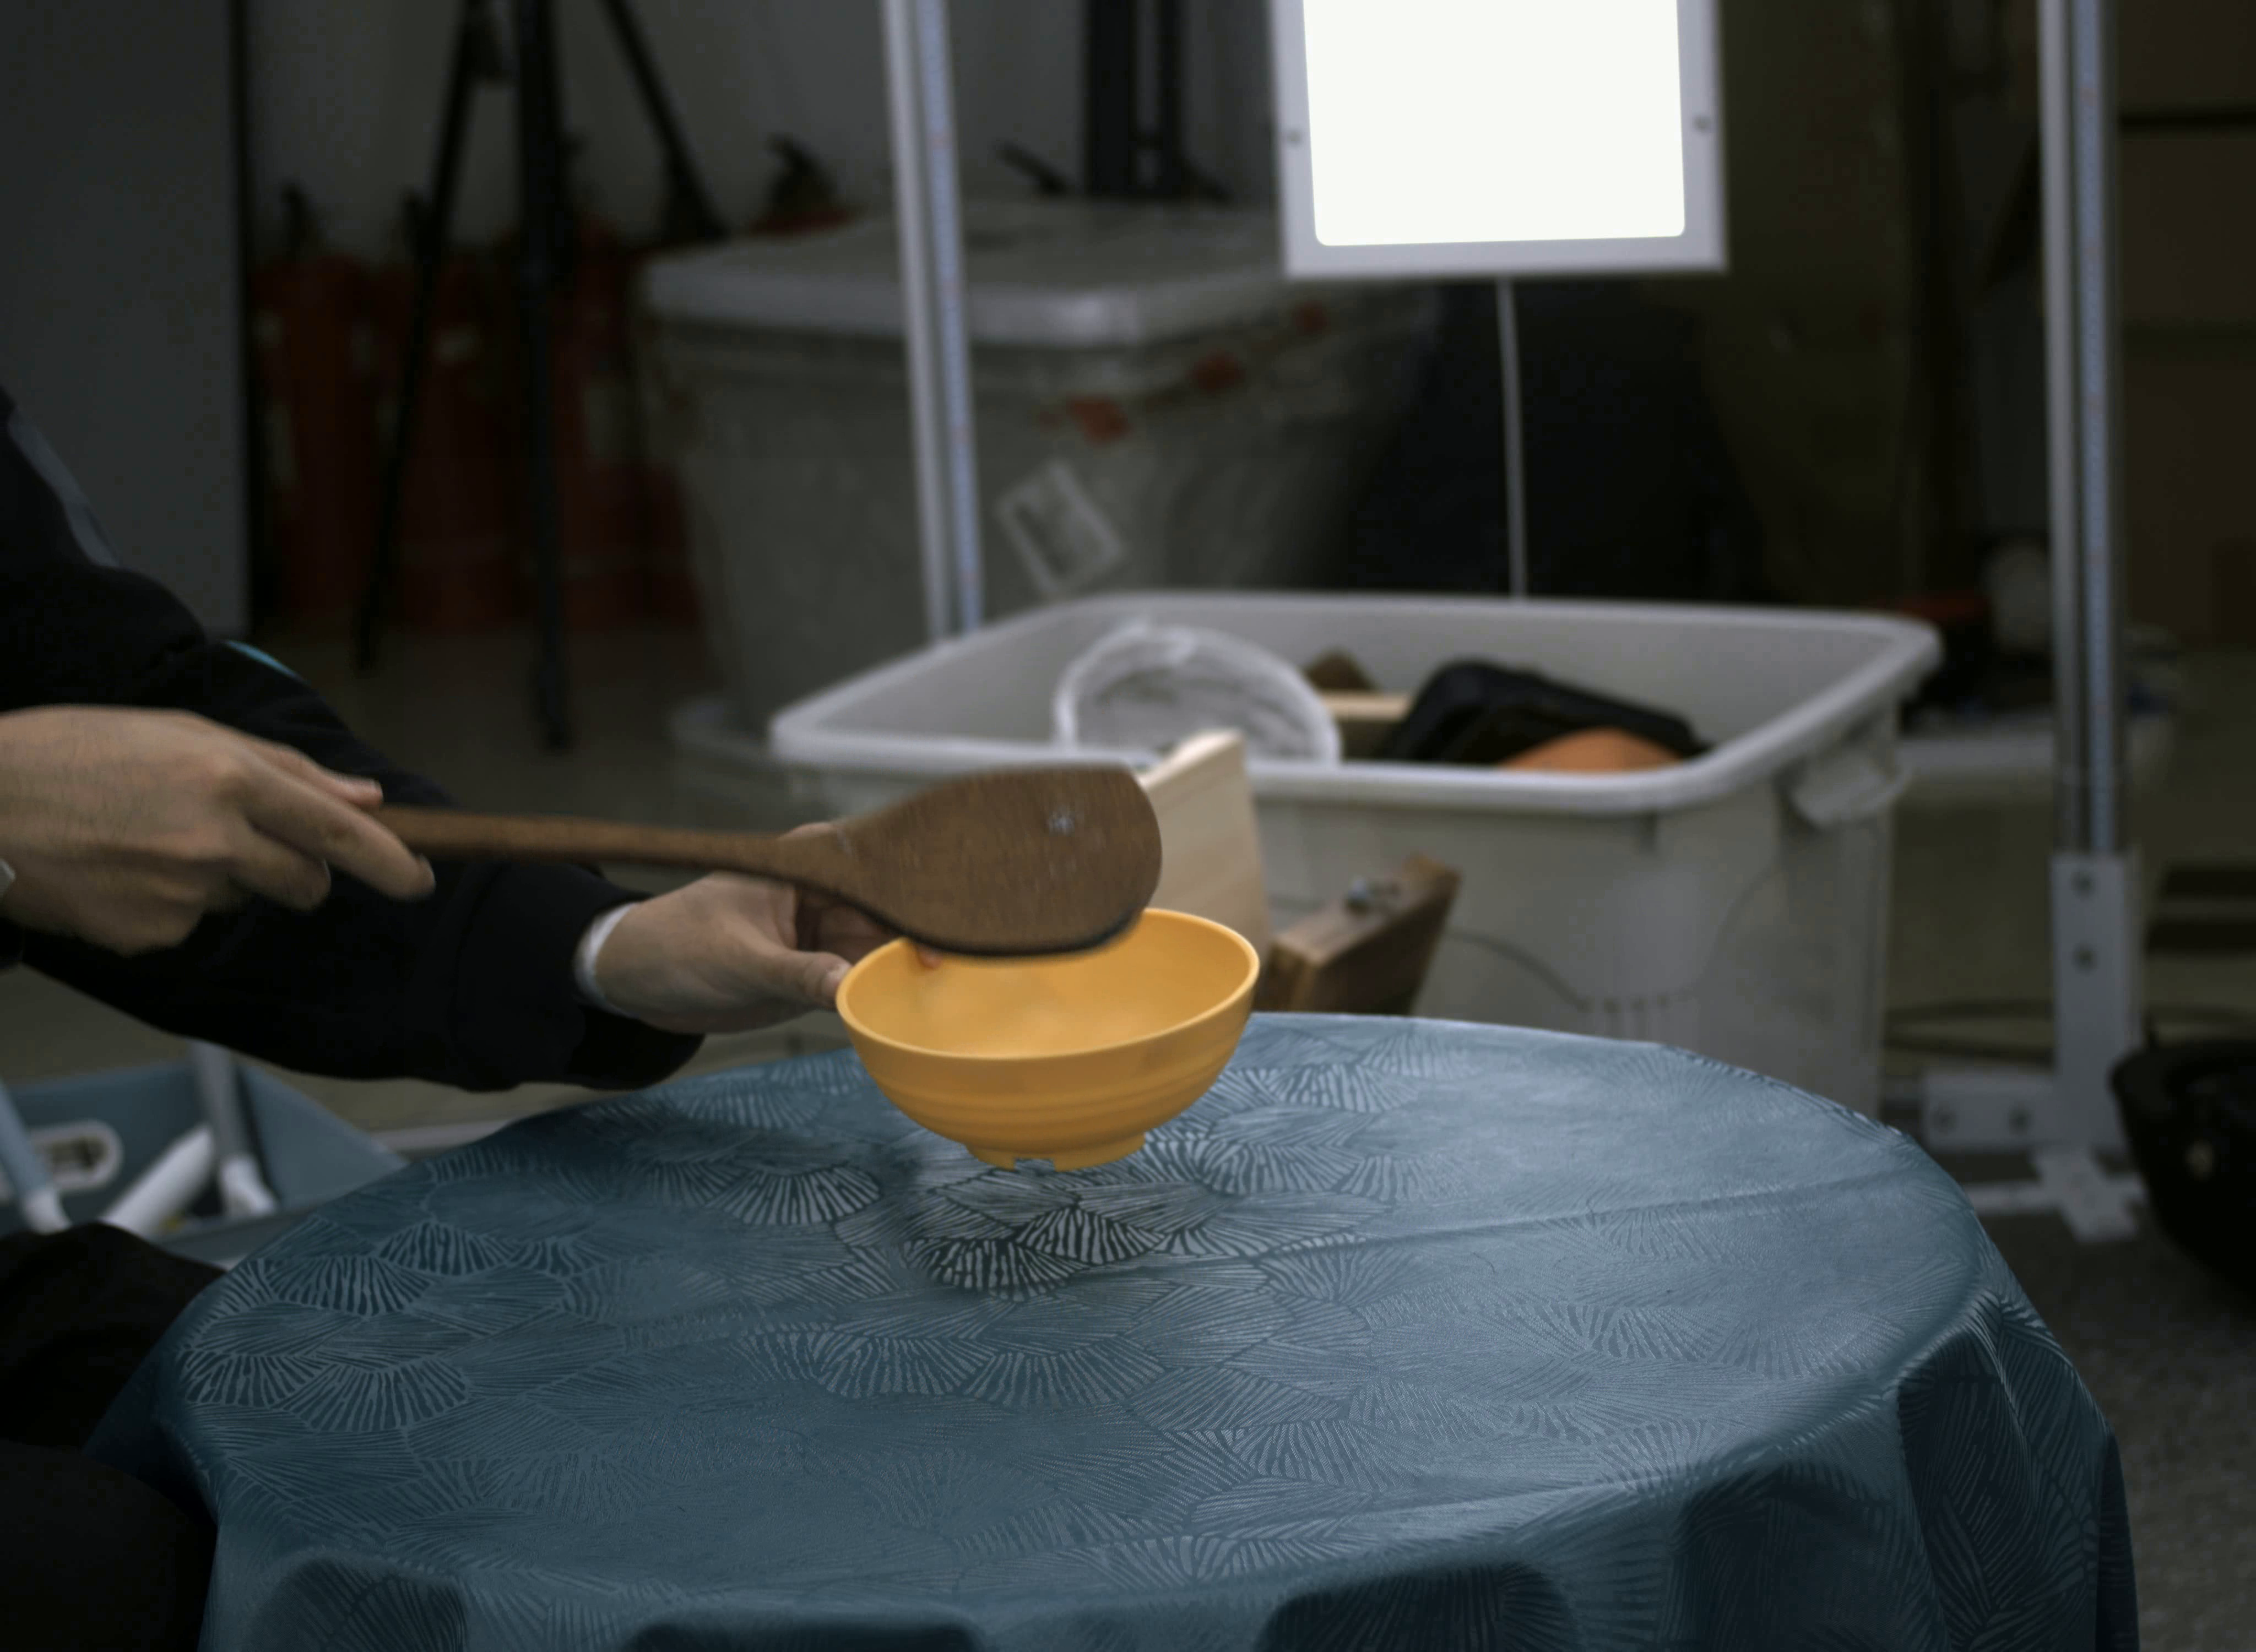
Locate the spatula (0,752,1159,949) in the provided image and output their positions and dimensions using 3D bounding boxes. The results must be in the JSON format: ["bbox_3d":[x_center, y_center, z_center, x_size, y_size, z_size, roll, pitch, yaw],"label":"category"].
[{"bbox_3d":[-0.182,0.002,1.745,0.385,0.016,0.095,2,39,2],"label":"spatula"}]

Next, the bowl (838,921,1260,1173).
[{"bbox_3d":[-0.025,0.079,1.872,0.145,0.060,0.145,-4,16,0],"label":"bowl"}]
